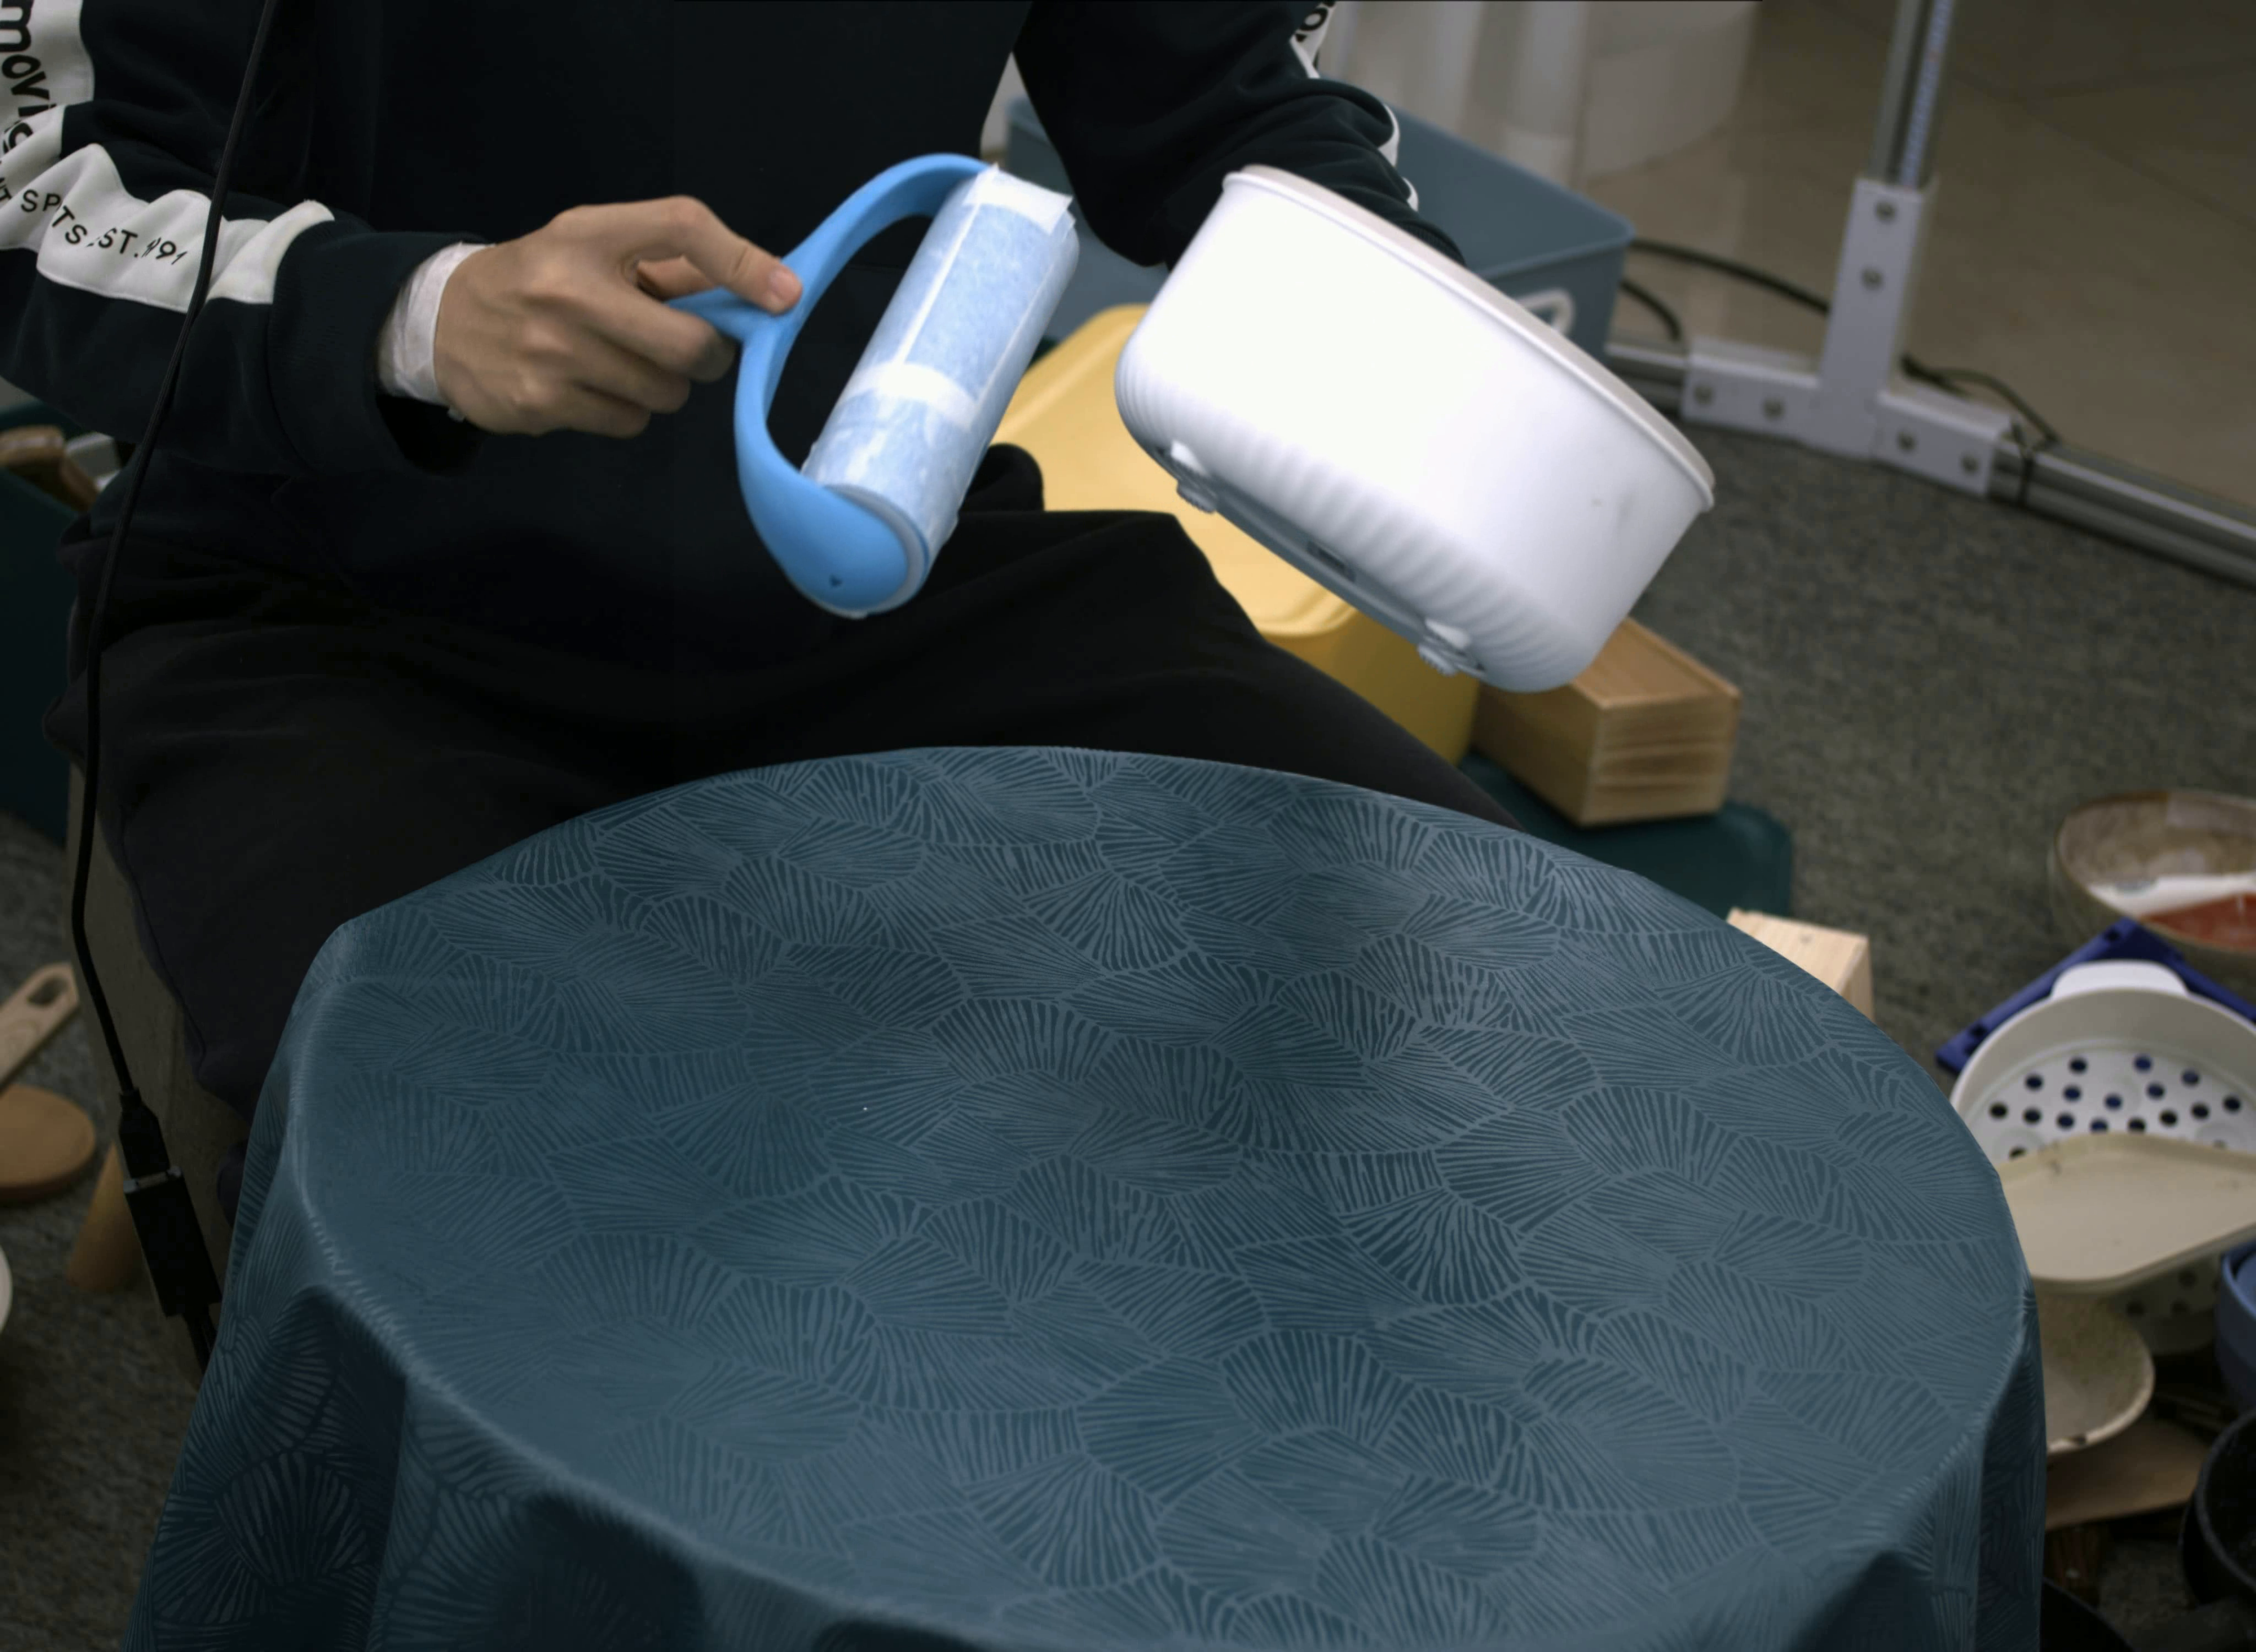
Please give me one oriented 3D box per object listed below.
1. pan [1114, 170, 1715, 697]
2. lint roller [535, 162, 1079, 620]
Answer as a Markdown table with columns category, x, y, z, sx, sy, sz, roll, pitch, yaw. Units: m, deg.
| category | x | y | z | sx | sy | sz | roll | pitch | yaw |
| --- | --- | --- | --- | --- | --- | --- | --- | --- | --- |
| pan | 0.094 | -0.121 | 1.895 | 0.201 | 0.102 | 0.354 | 33 | -3 | 4 |
| lint roller | -0.125 | -0.154 | 1.843 | 0.180 | 0.067 | 0.230 | 4 | 41 | 13 |
